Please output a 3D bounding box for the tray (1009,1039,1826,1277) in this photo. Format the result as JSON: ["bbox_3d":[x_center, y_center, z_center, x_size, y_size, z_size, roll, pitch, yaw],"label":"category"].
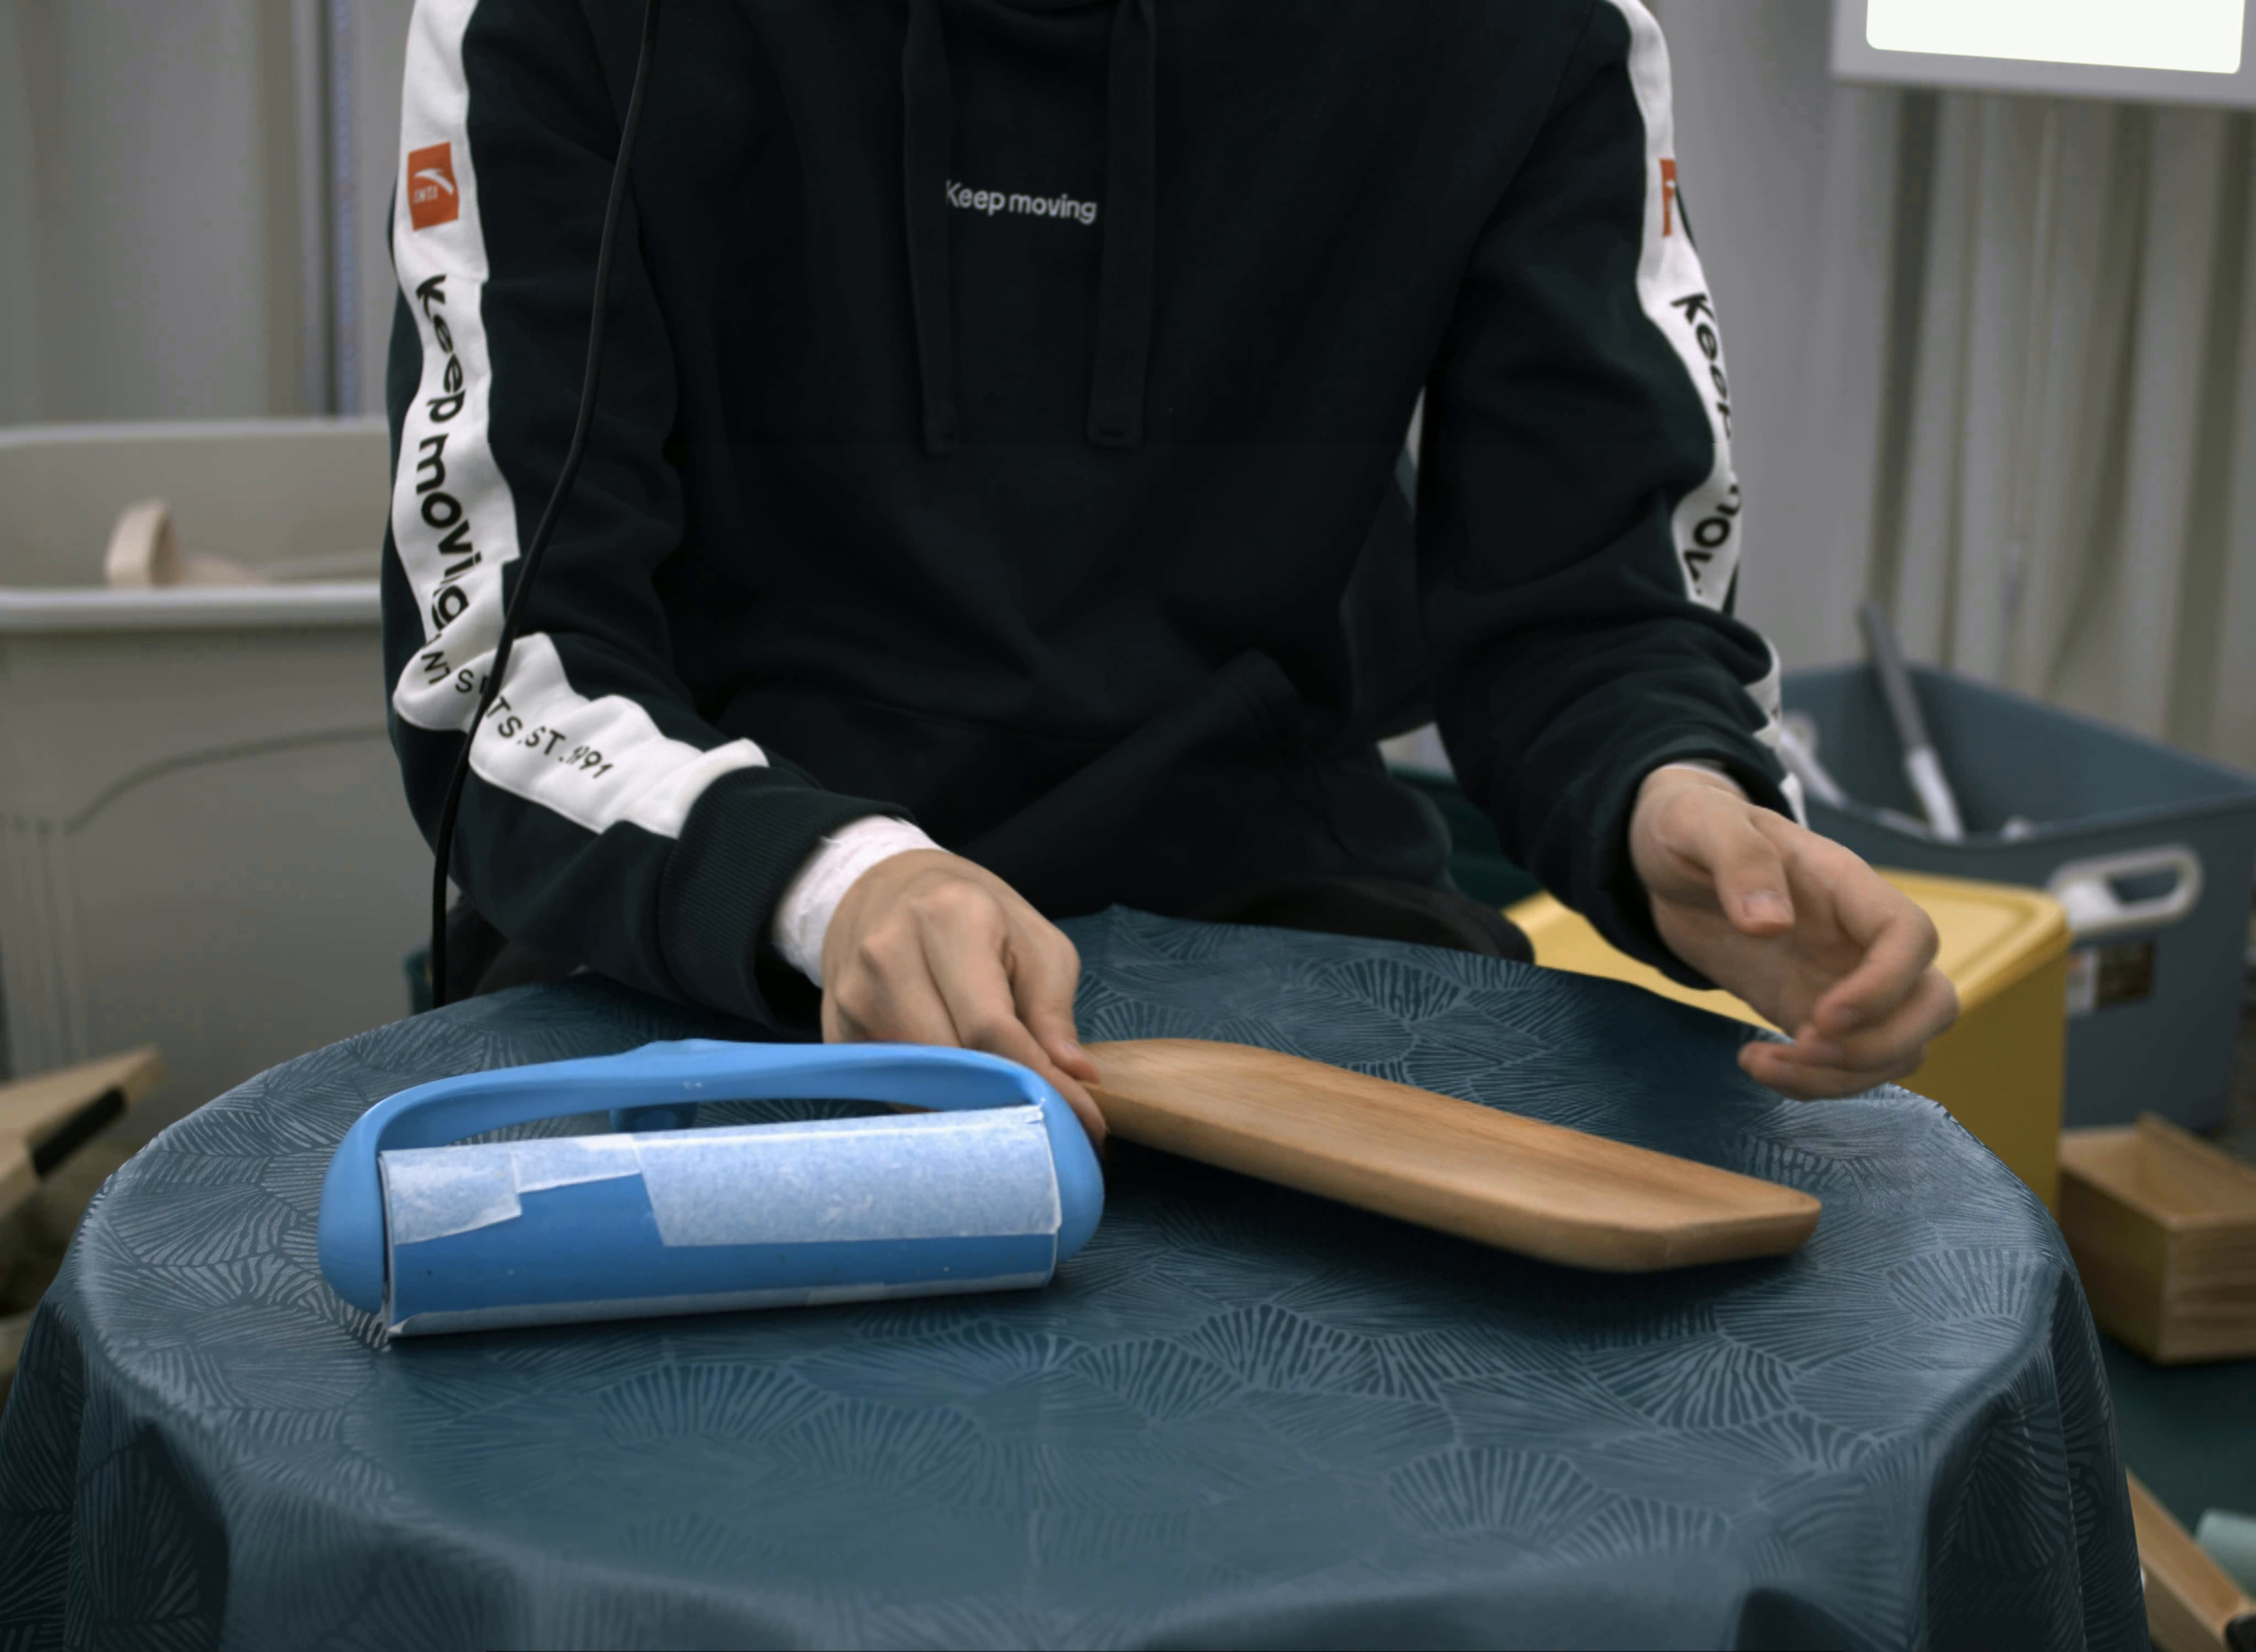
[{"bbox_3d":[0.084,0.099,1.602,0.247,0.023,0.131,13,7,41],"label":"tray"}]

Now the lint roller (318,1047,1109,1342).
[{"bbox_3d":[-0.133,0.096,1.566,0.229,0.068,0.178,-5,17,-15],"label":"lint roller"}]
